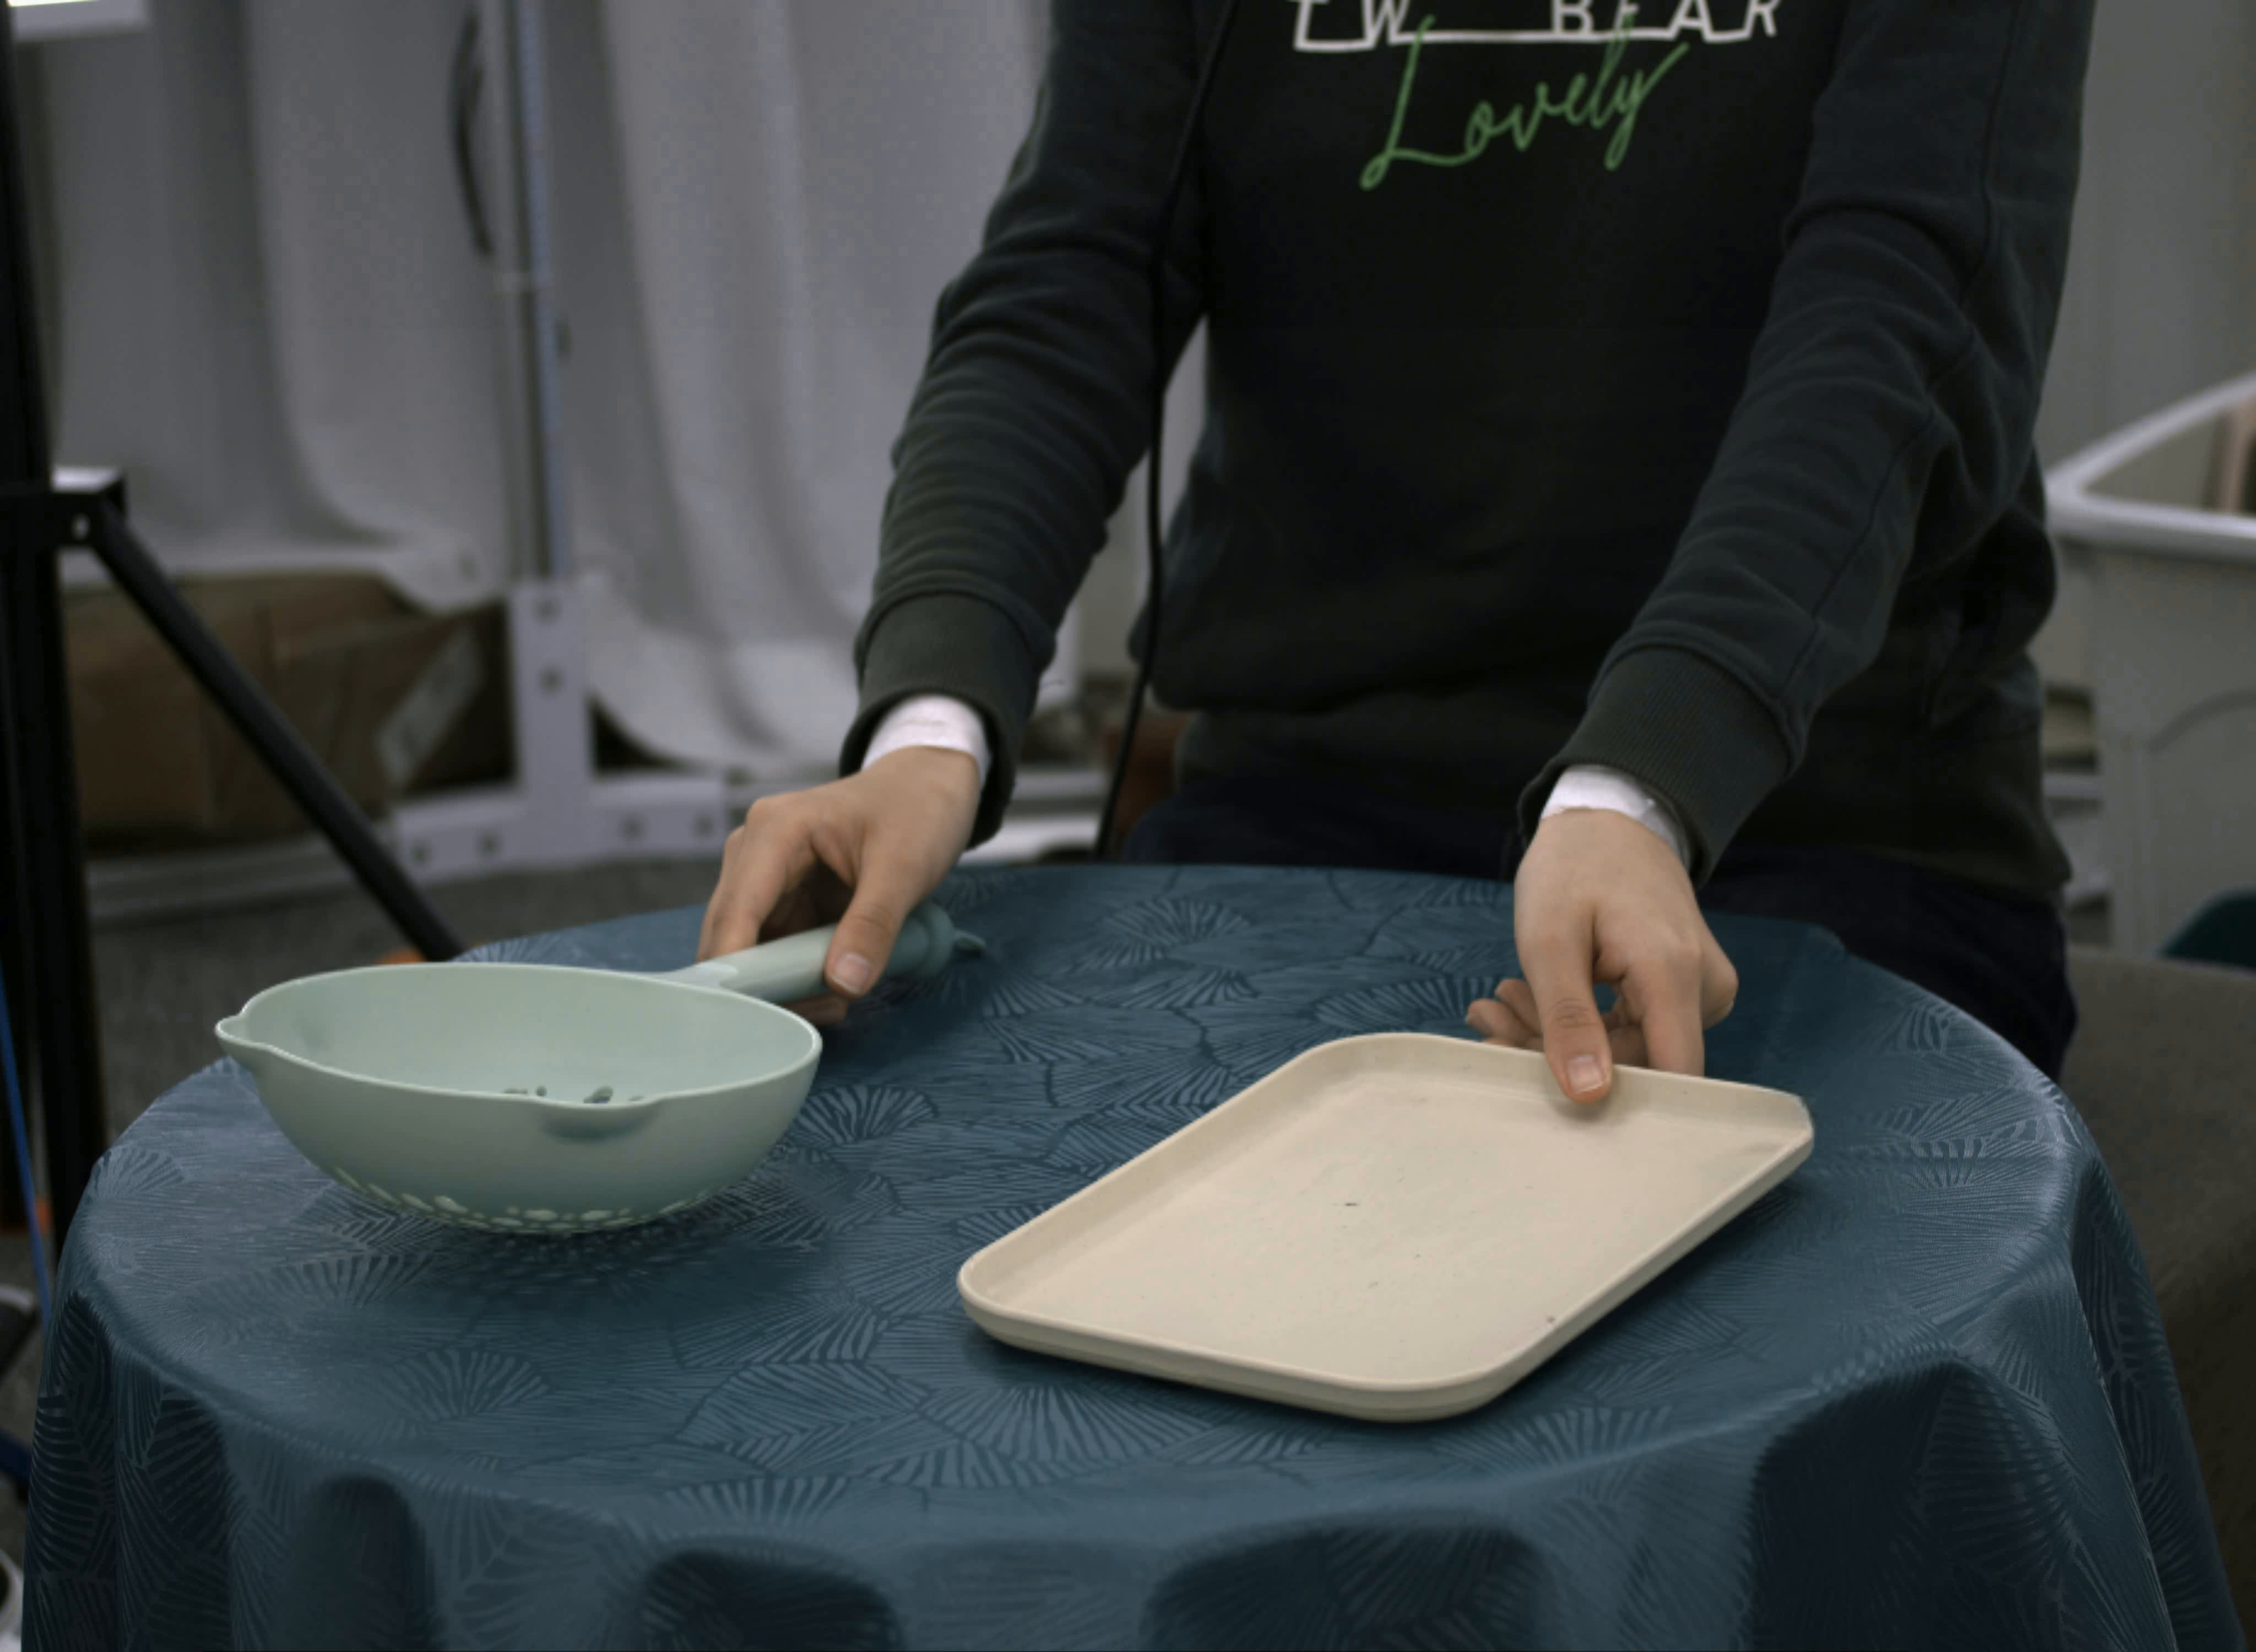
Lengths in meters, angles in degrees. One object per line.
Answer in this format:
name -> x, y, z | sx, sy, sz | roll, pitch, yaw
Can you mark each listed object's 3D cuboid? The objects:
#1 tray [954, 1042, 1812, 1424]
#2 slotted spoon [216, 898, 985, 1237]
tray -> 0.075, 0.112, 1.487 | 0.174, 0.017, 0.235 | 8, 20, 33
slotted spoon -> -0.131, 0.058, 1.637 | 0.172, 0.075, 0.353 | 10, 20, 25
